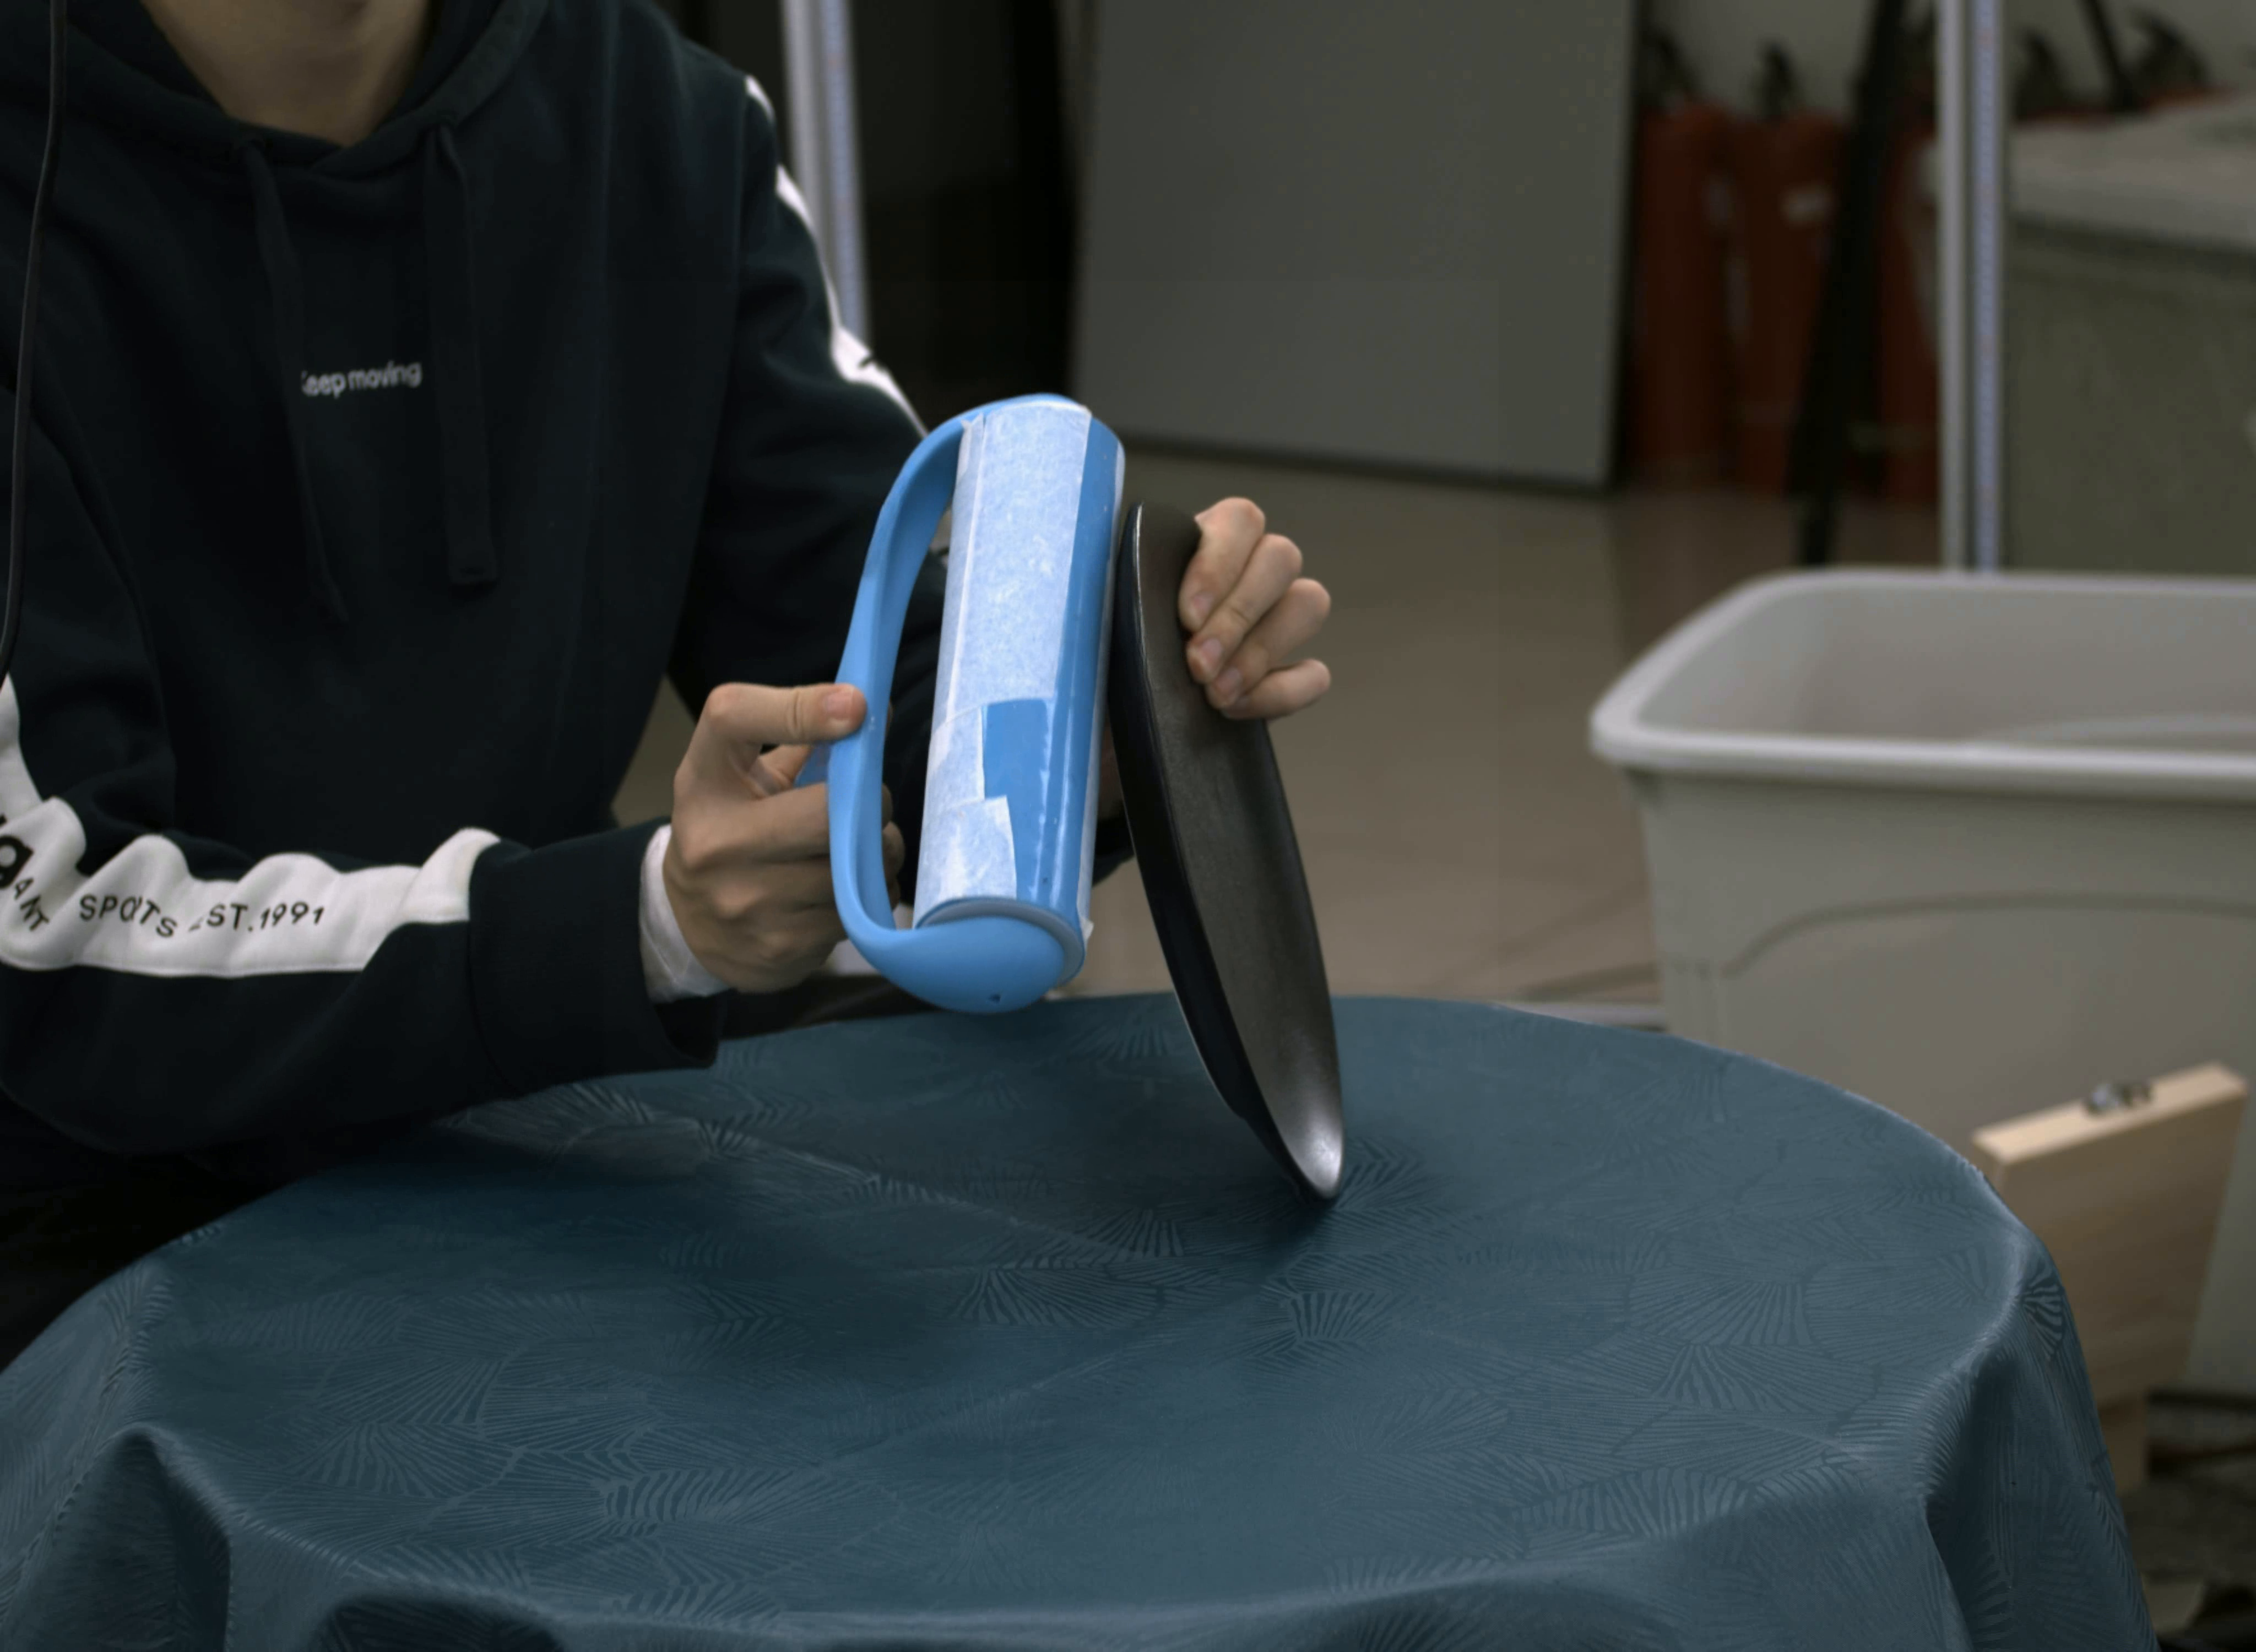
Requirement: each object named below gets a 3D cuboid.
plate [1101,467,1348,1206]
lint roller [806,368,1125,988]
[{"bbox_3d":[0.028,0.005,1.746,0.023,0.246,0.244,-14,11,10],"label":"plate"},{"bbox_3d":[-0.066,-0.019,1.701,0.066,0.231,0.182,23,-43,-25],"label":"lint roller"}]
